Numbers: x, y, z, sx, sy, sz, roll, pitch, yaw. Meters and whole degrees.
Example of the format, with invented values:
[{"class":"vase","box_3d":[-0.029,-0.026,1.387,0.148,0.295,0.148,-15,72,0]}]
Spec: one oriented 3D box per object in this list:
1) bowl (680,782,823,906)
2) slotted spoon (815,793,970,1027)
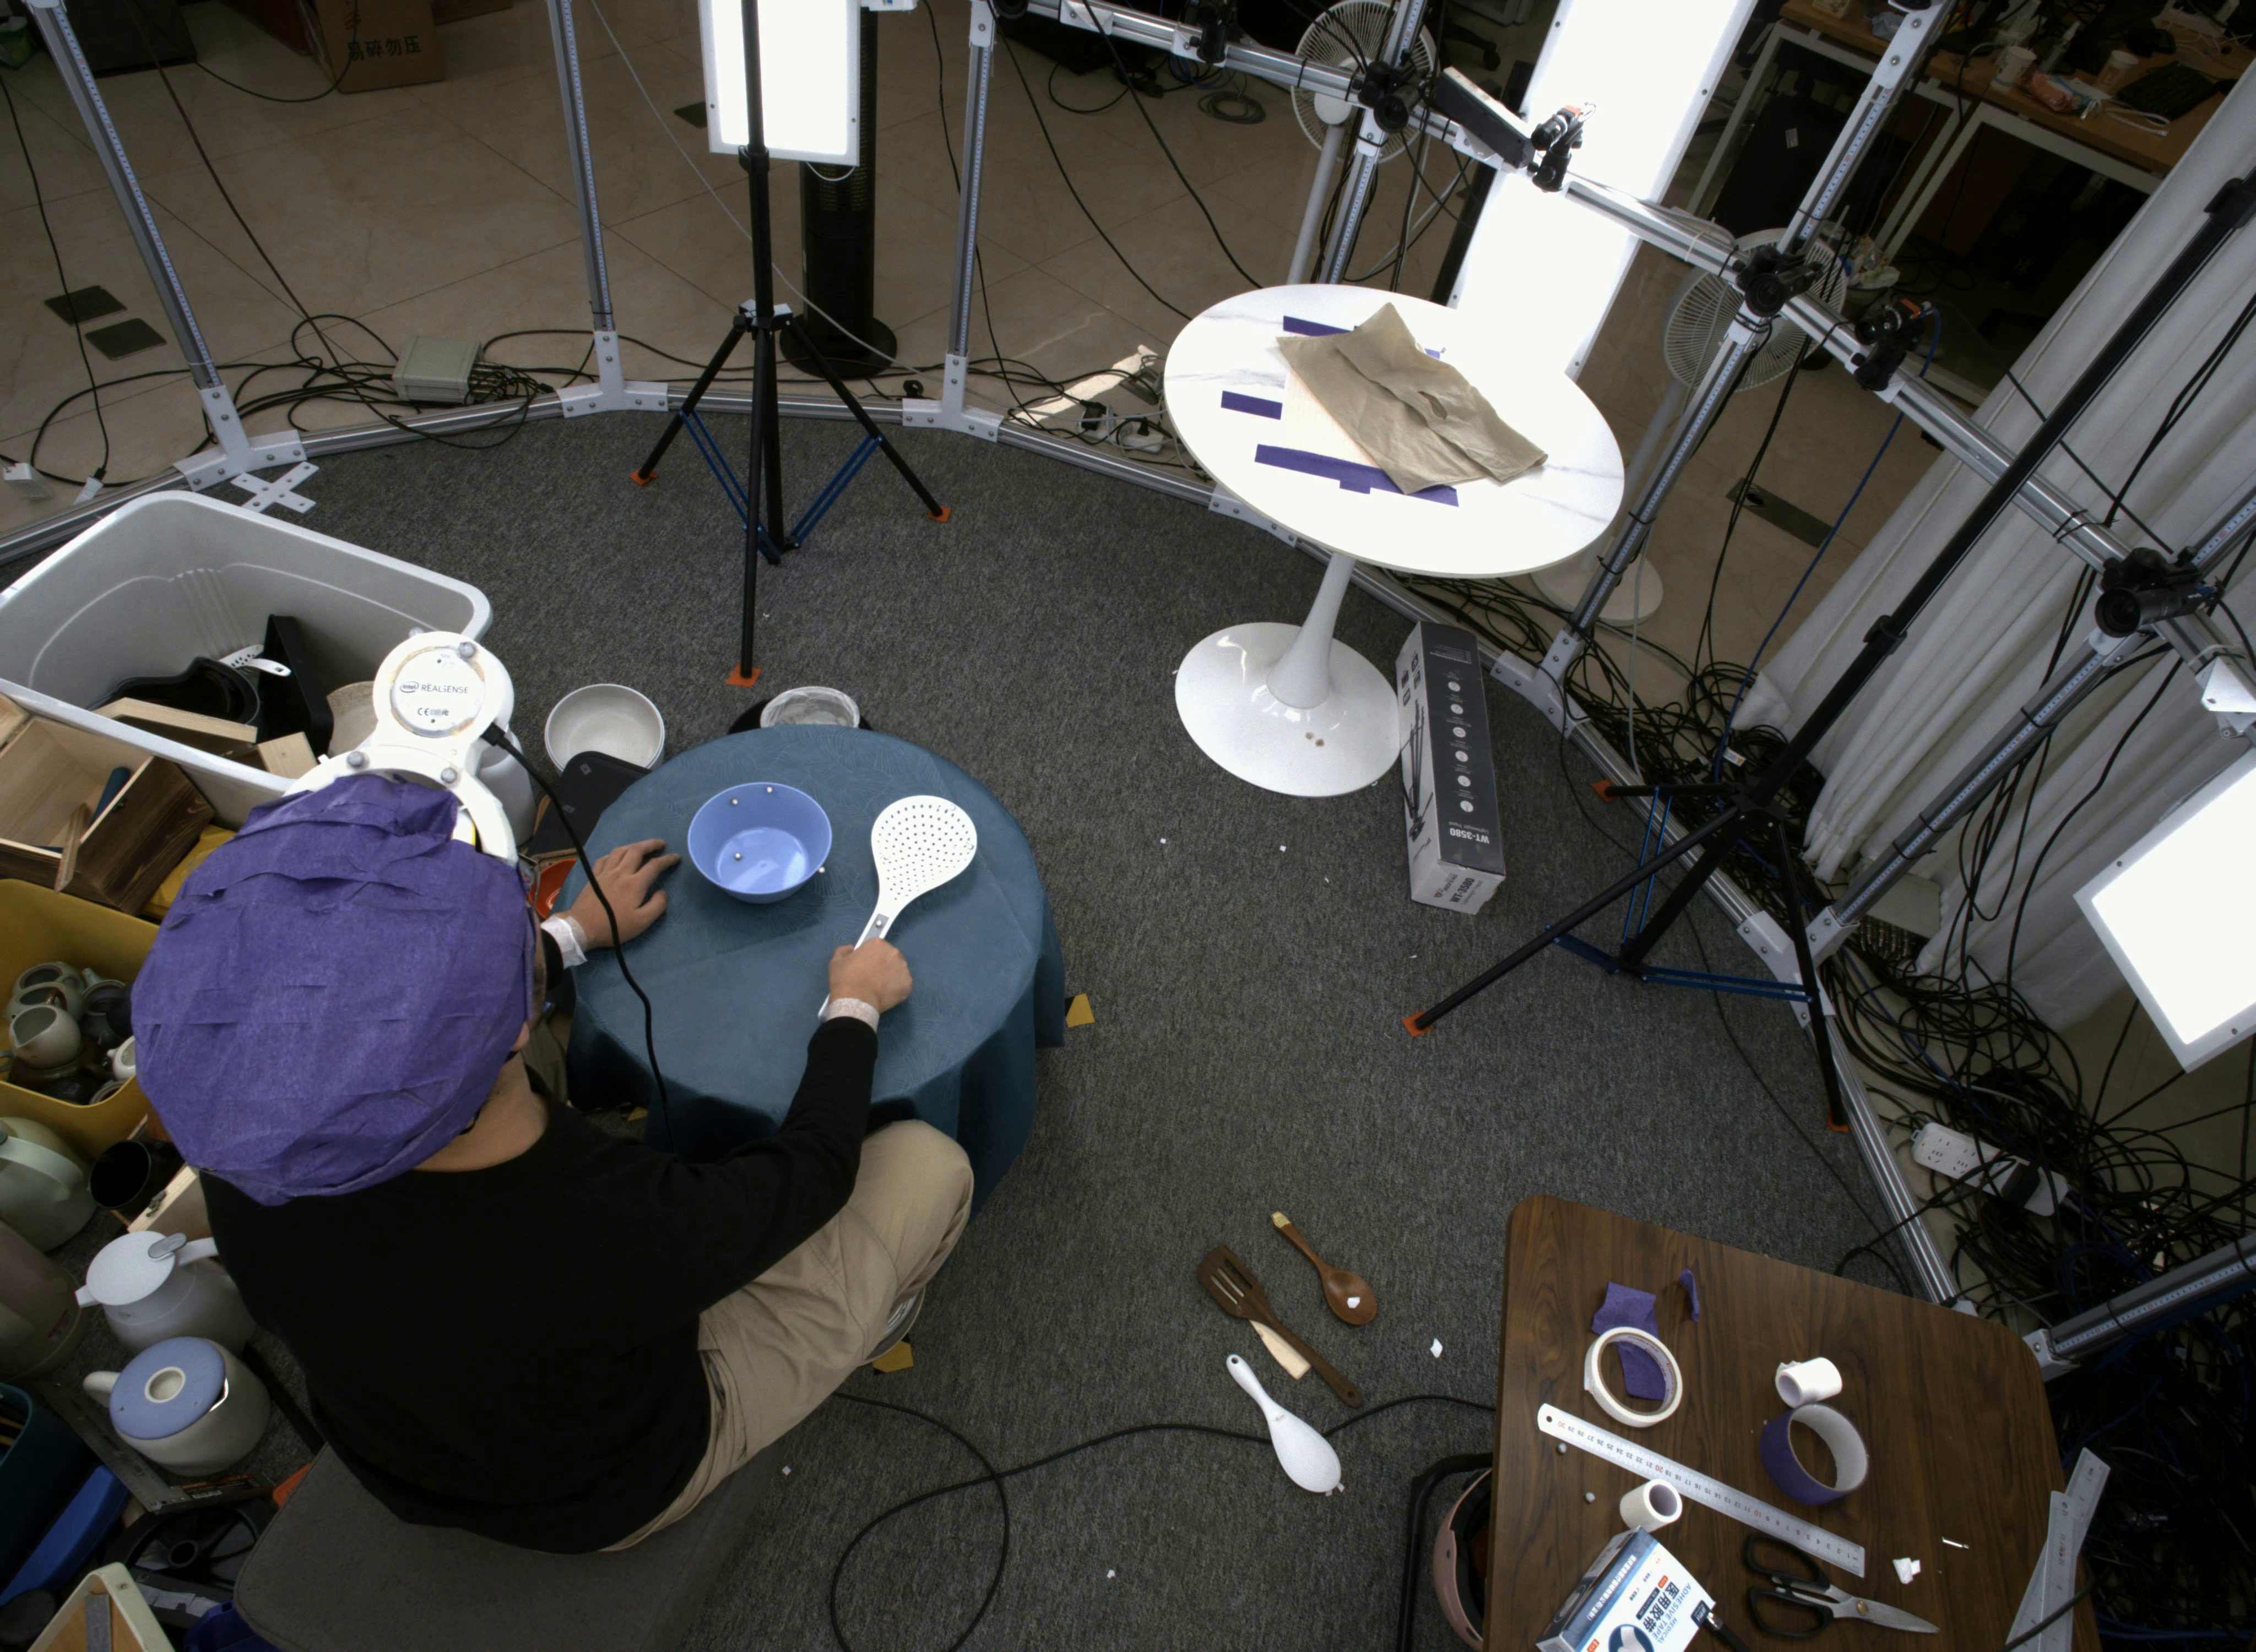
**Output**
[{"class":"bowl","box_3d":[-0.474,0.033,1.636,0.176,0.071,0.173,7,53,-8]},{"class":"slotted spoon","box_3d":[-0.308,0.100,1.642,0.135,0.046,0.346,22,51,-1]}]
